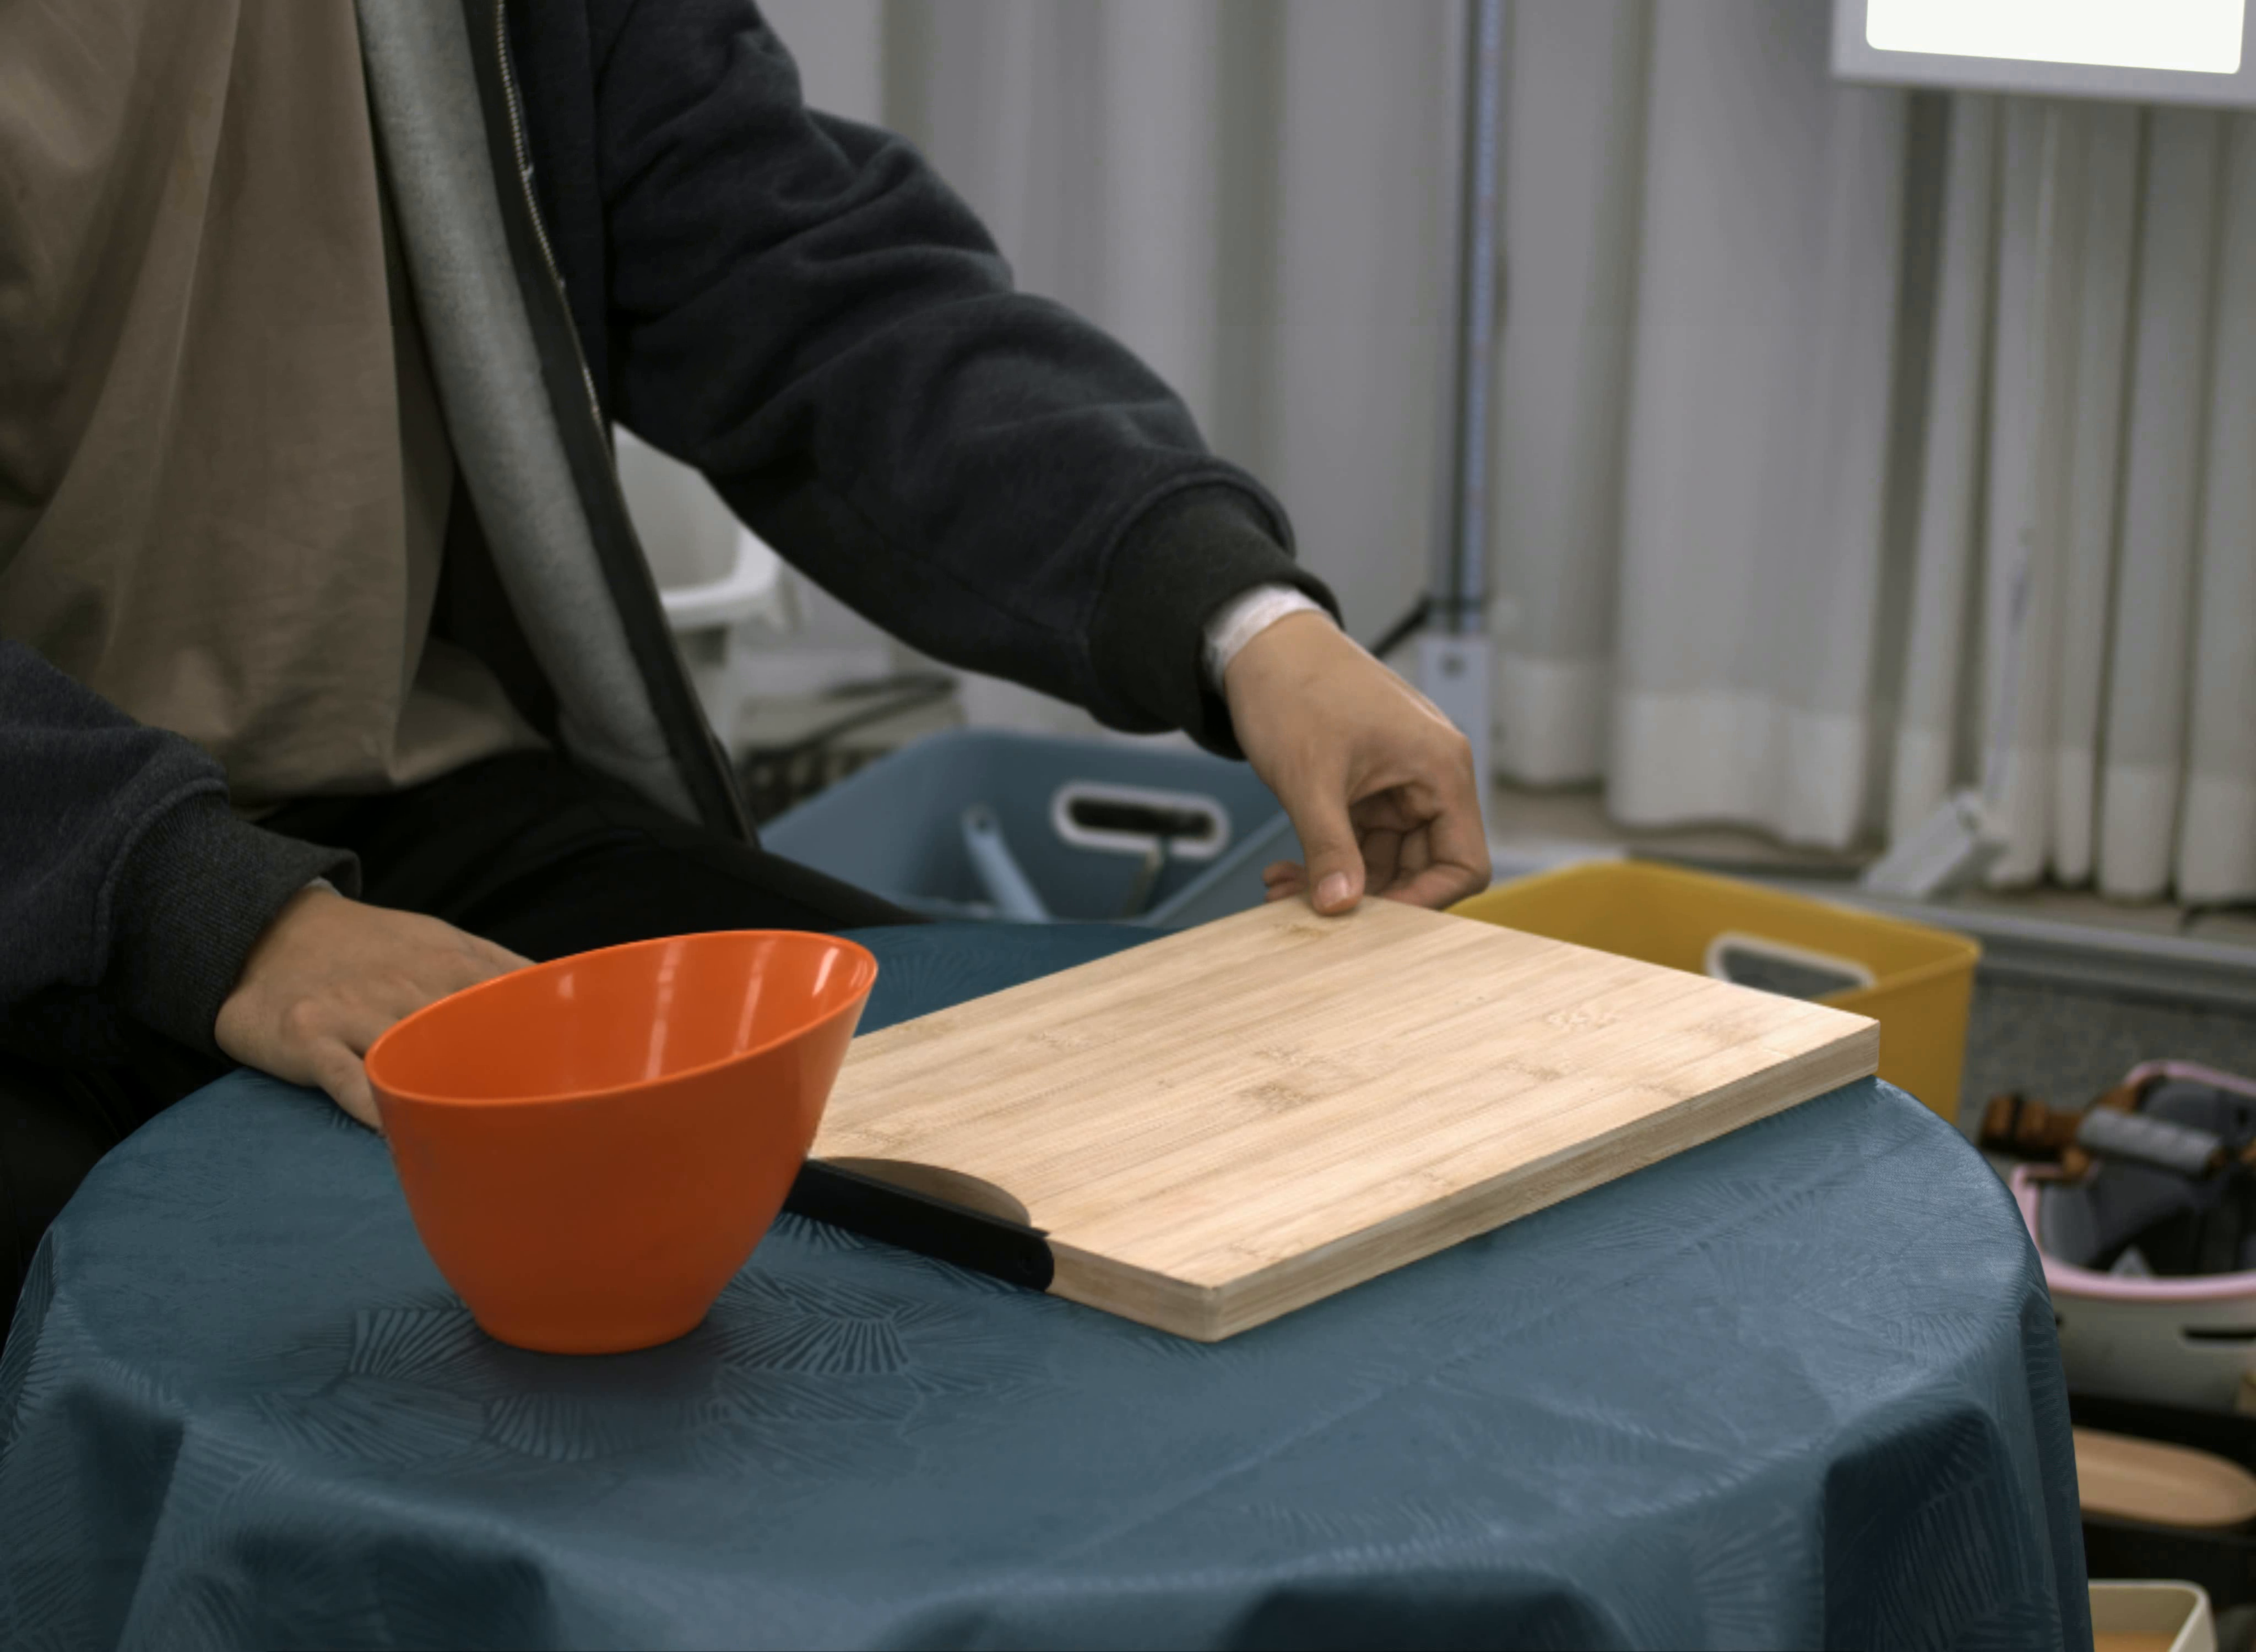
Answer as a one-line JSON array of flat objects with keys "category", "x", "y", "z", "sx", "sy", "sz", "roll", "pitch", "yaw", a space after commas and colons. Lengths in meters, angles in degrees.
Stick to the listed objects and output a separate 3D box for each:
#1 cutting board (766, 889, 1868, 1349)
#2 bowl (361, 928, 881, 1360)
[{"category": "cutting board", "x": 0.042, "y": 0.087, "z": 1.687, "sx": 0.247, "sy": 0.024, "sz": 0.350, "roll": 13, "pitch": 19, "yaw": 39}, {"category": "bowl", "x": -0.143, "y": 0.092, "z": 1.499, "sx": 0.147, "sy": 0.105, "sz": 0.147, "roll": 1, "pitch": 18, "yaw": 0}]
